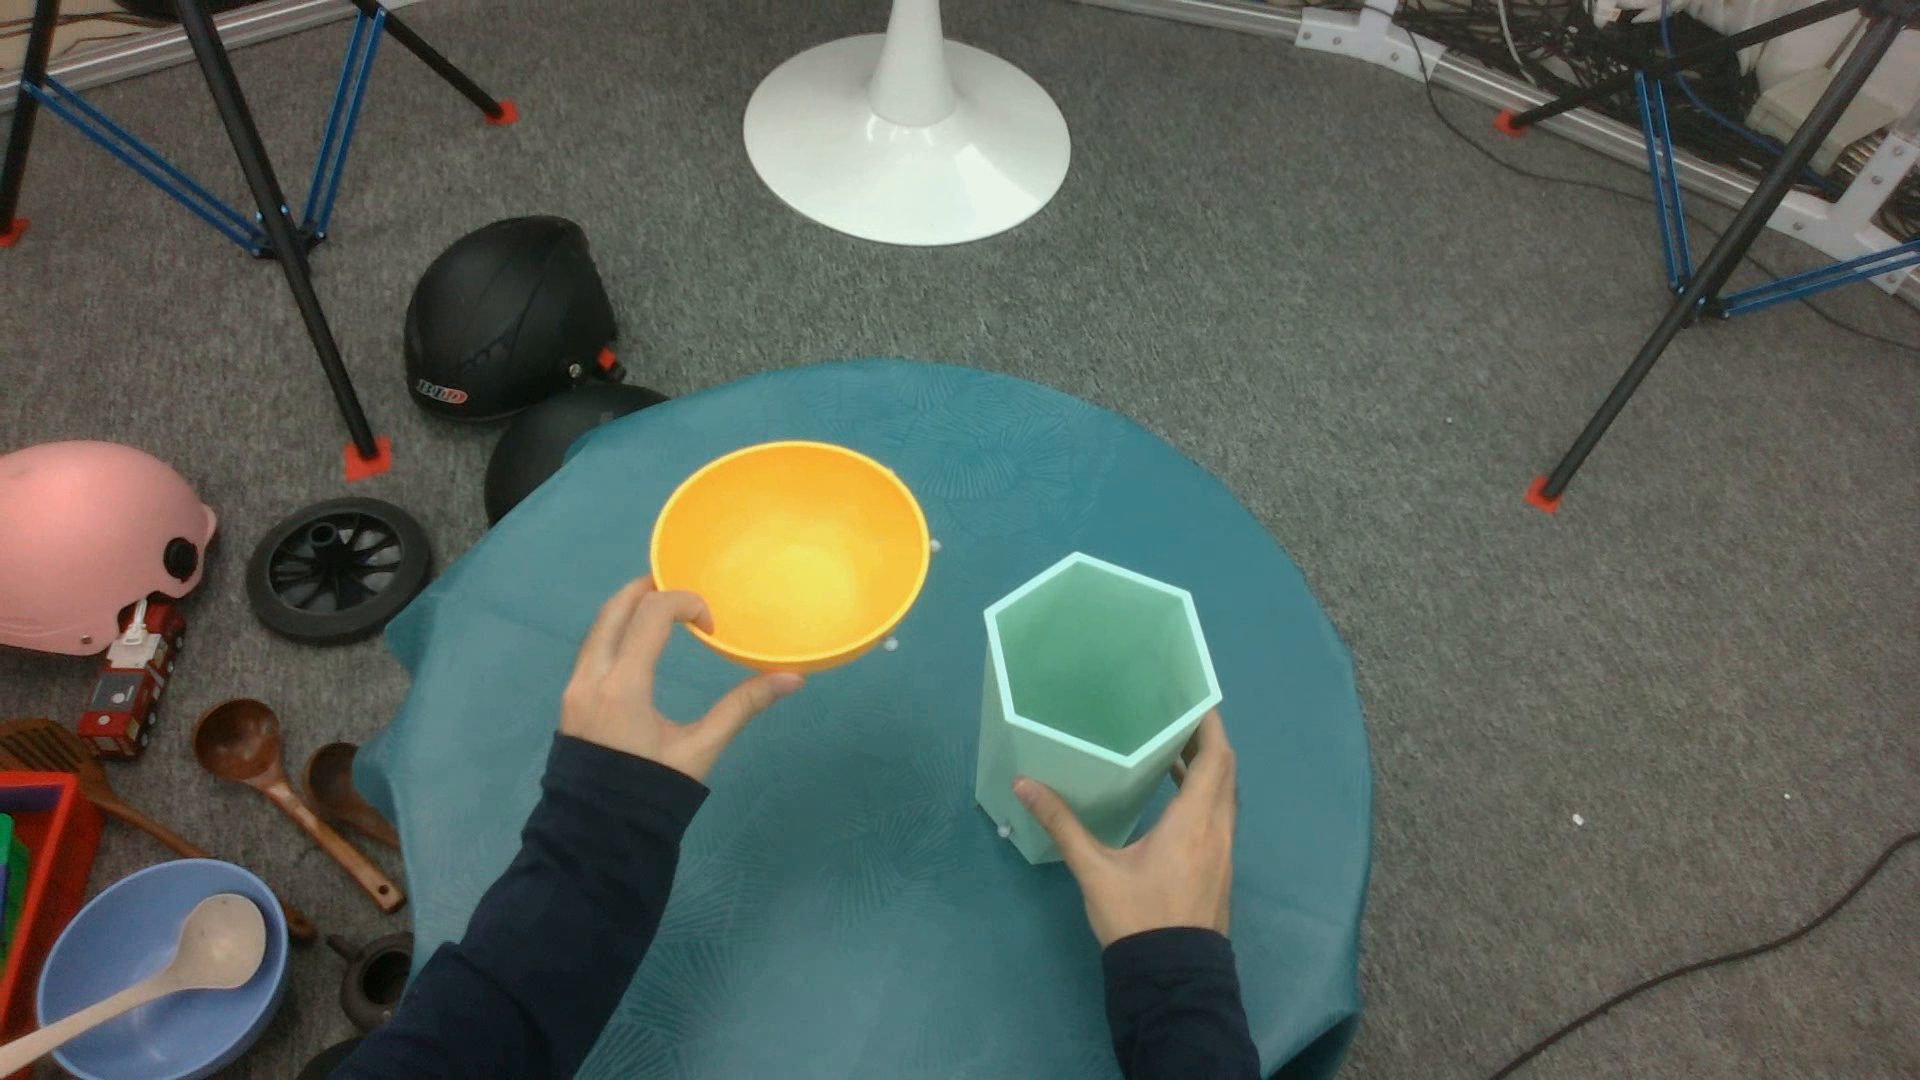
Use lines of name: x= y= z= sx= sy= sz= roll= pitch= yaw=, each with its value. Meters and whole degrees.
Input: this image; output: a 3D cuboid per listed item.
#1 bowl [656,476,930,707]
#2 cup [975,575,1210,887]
bowl: x=-0.089 y=0.037 z=0.750 sx=0.145 sy=0.060 sz=0.146 roll=1 pitch=52 yaw=-1
cup: x=0.064 y=0.118 z=0.786 sx=0.131 sy=0.162 sz=0.116 roll=17 pitch=53 yaw=9
